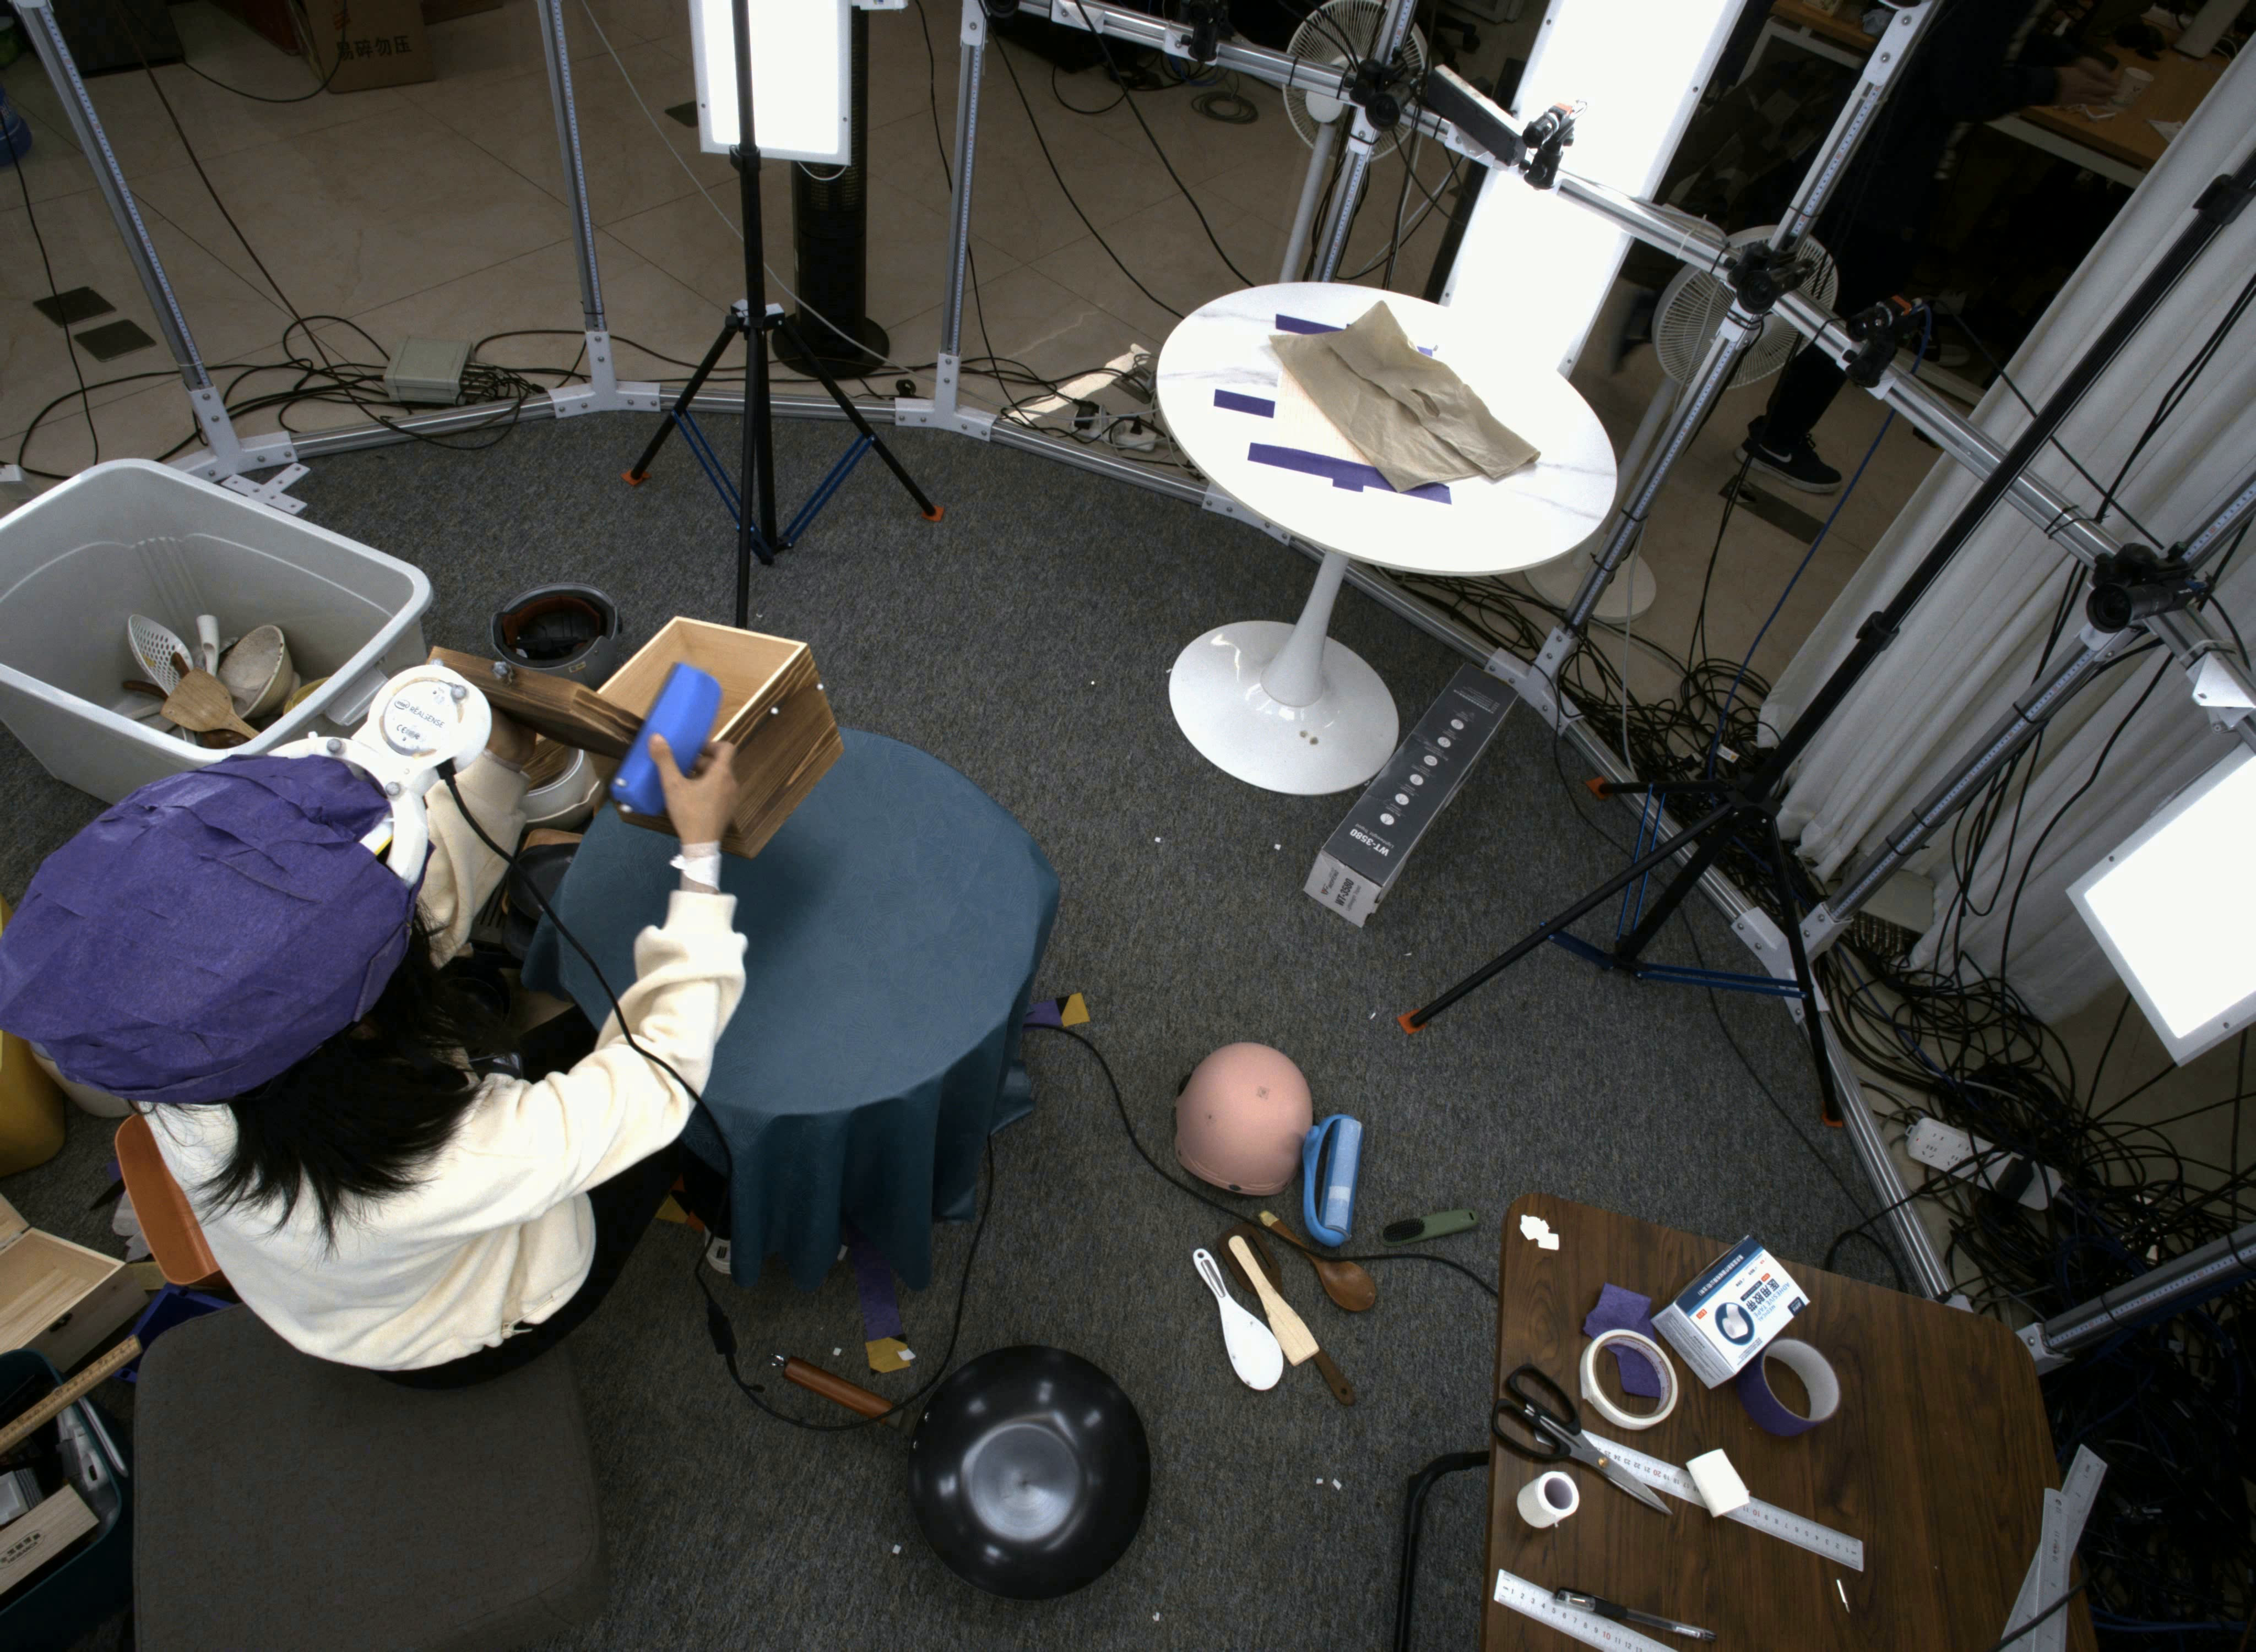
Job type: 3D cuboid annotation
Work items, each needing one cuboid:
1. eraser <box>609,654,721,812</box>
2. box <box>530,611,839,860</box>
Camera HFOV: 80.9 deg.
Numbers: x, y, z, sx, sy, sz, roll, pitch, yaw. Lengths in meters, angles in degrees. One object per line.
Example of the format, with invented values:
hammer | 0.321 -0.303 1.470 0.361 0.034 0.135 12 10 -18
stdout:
eraser | -0.459 -0.093 1.287 0.046 0.056 0.161 9 66 23
box | -0.526 -0.146 1.418 0.203 0.389 0.320 13 50 20
